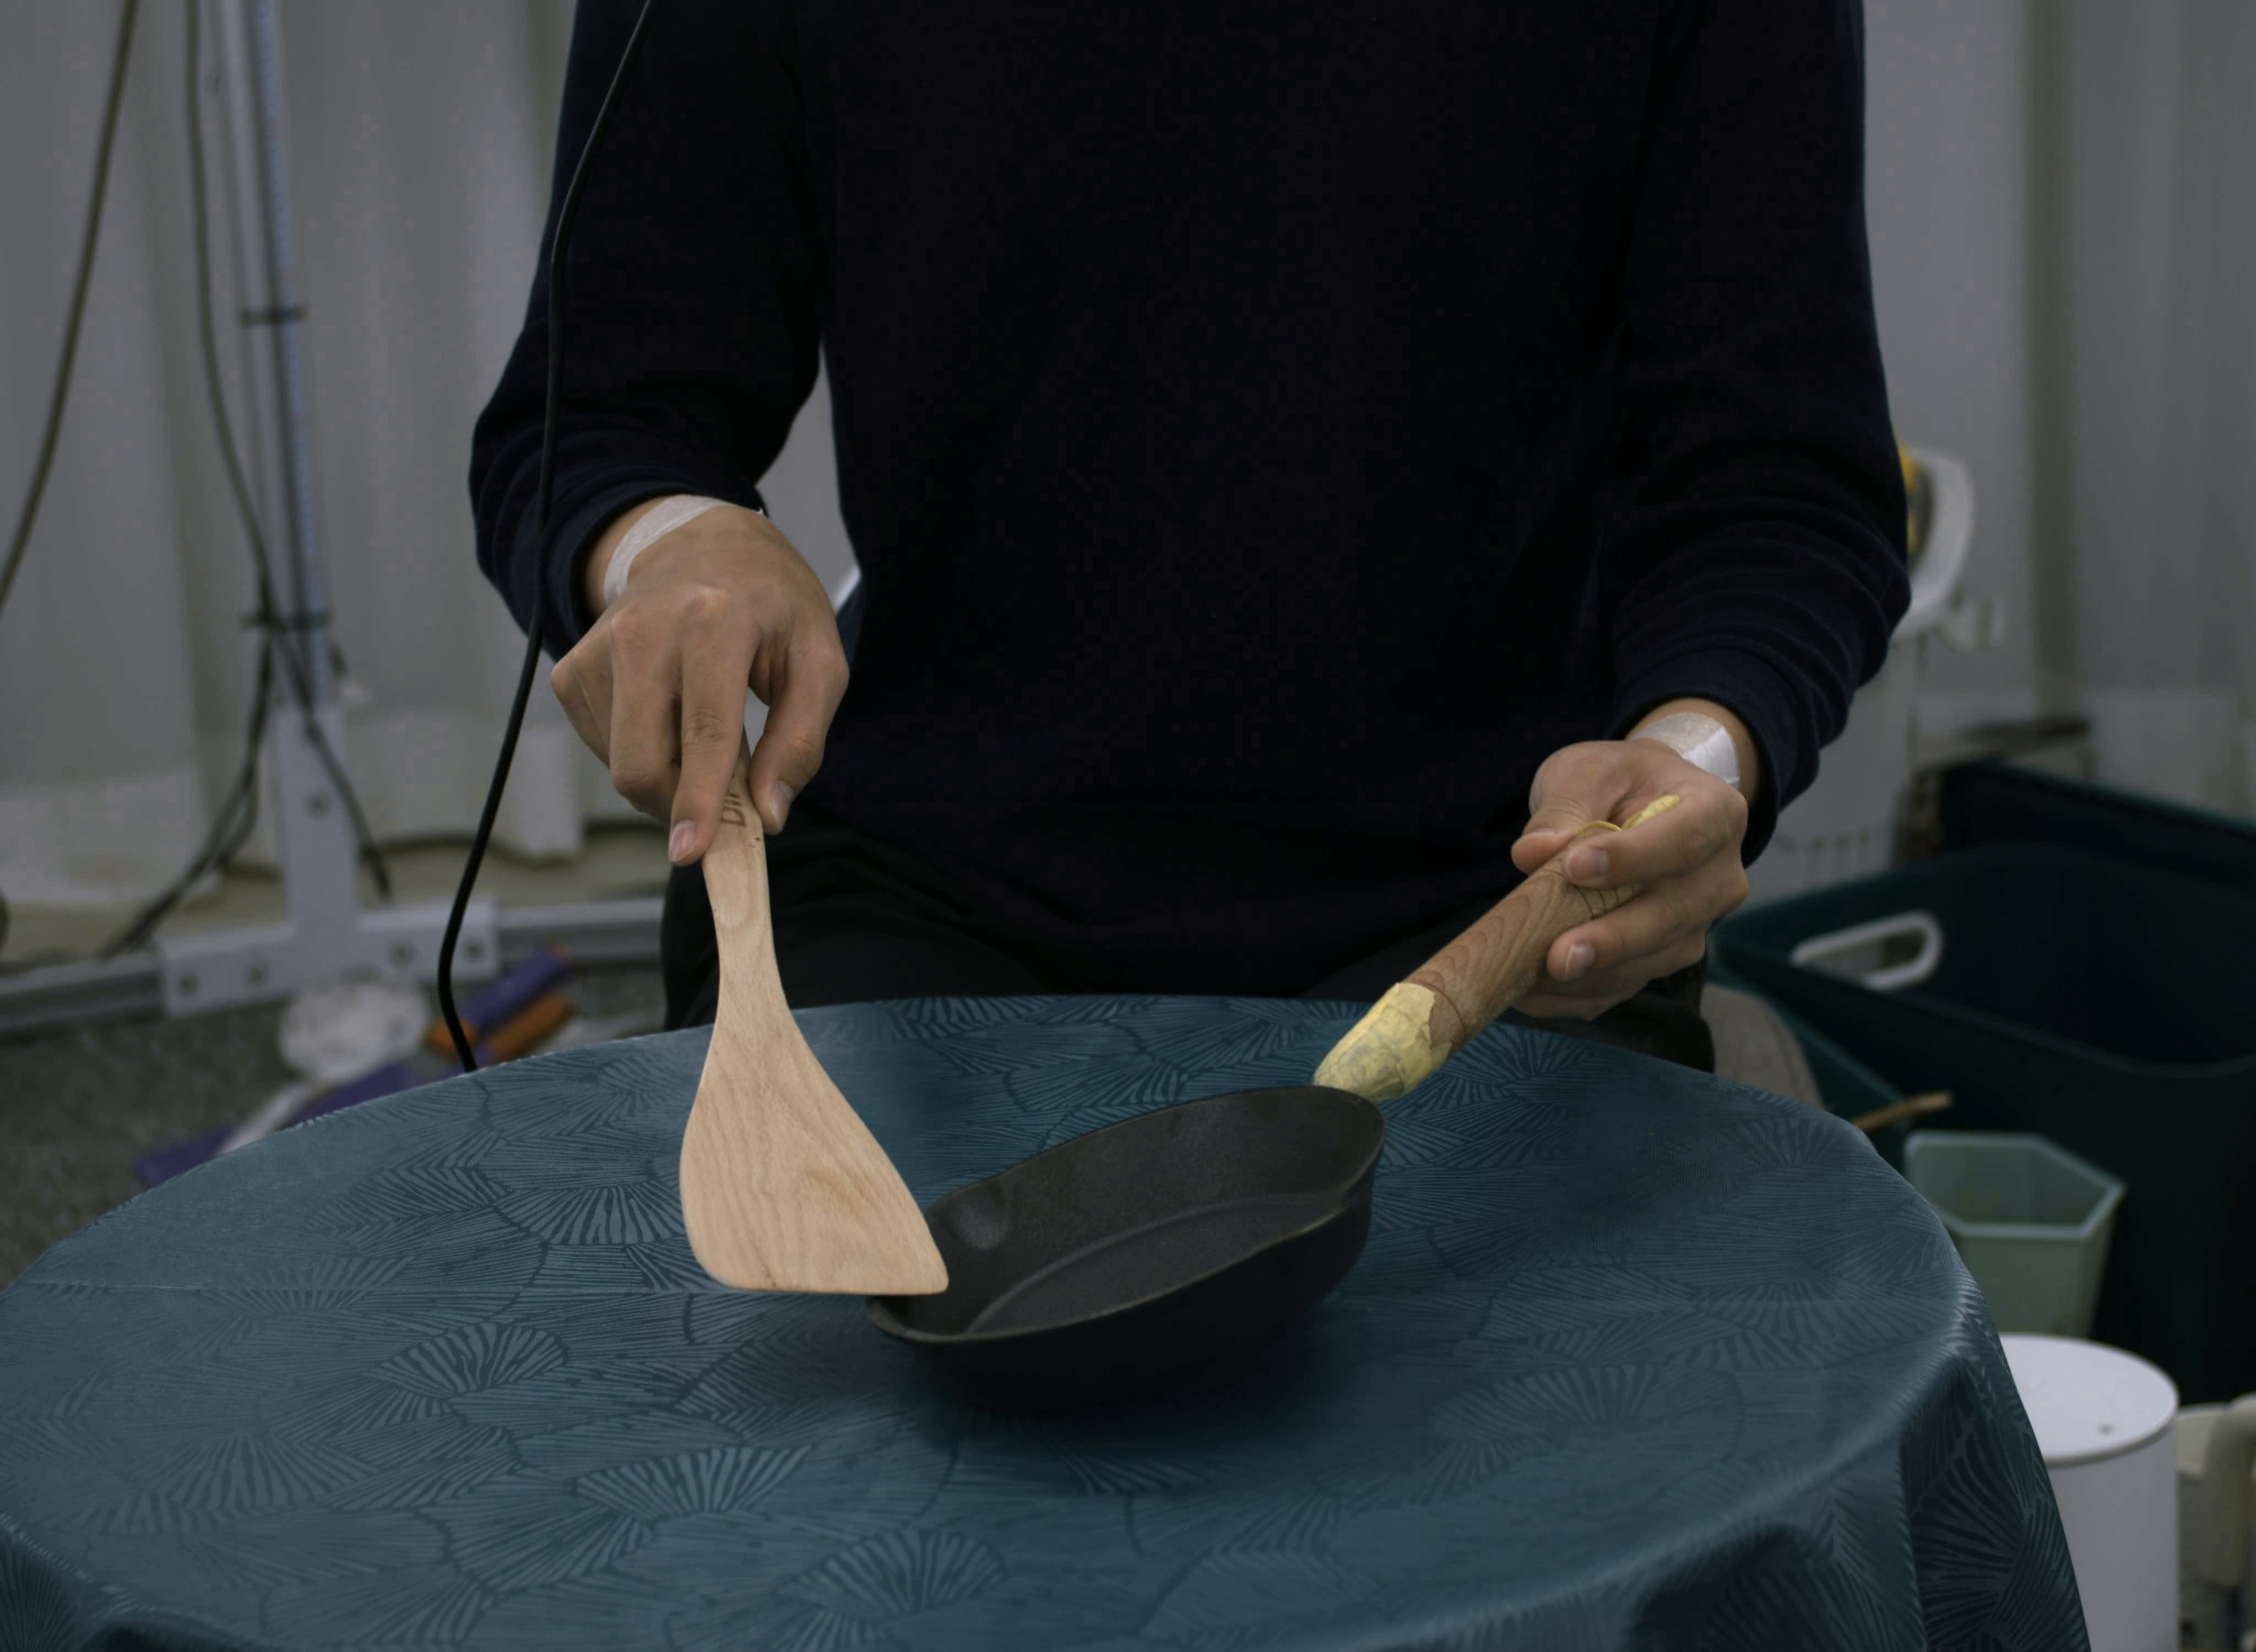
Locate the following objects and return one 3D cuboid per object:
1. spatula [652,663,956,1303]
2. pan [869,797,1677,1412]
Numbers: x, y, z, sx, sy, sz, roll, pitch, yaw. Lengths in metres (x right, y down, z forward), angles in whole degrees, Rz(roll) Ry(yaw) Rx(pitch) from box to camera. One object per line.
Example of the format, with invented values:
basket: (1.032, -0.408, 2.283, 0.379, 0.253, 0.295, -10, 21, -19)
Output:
spatula: (-0.113, 0.043, 1.677, 0.079, 0.016, 0.332, 10, 33, -20)
pan: (0.062, 0.080, 1.604, 0.325, 0.049, 0.169, -32, 18, -33)
